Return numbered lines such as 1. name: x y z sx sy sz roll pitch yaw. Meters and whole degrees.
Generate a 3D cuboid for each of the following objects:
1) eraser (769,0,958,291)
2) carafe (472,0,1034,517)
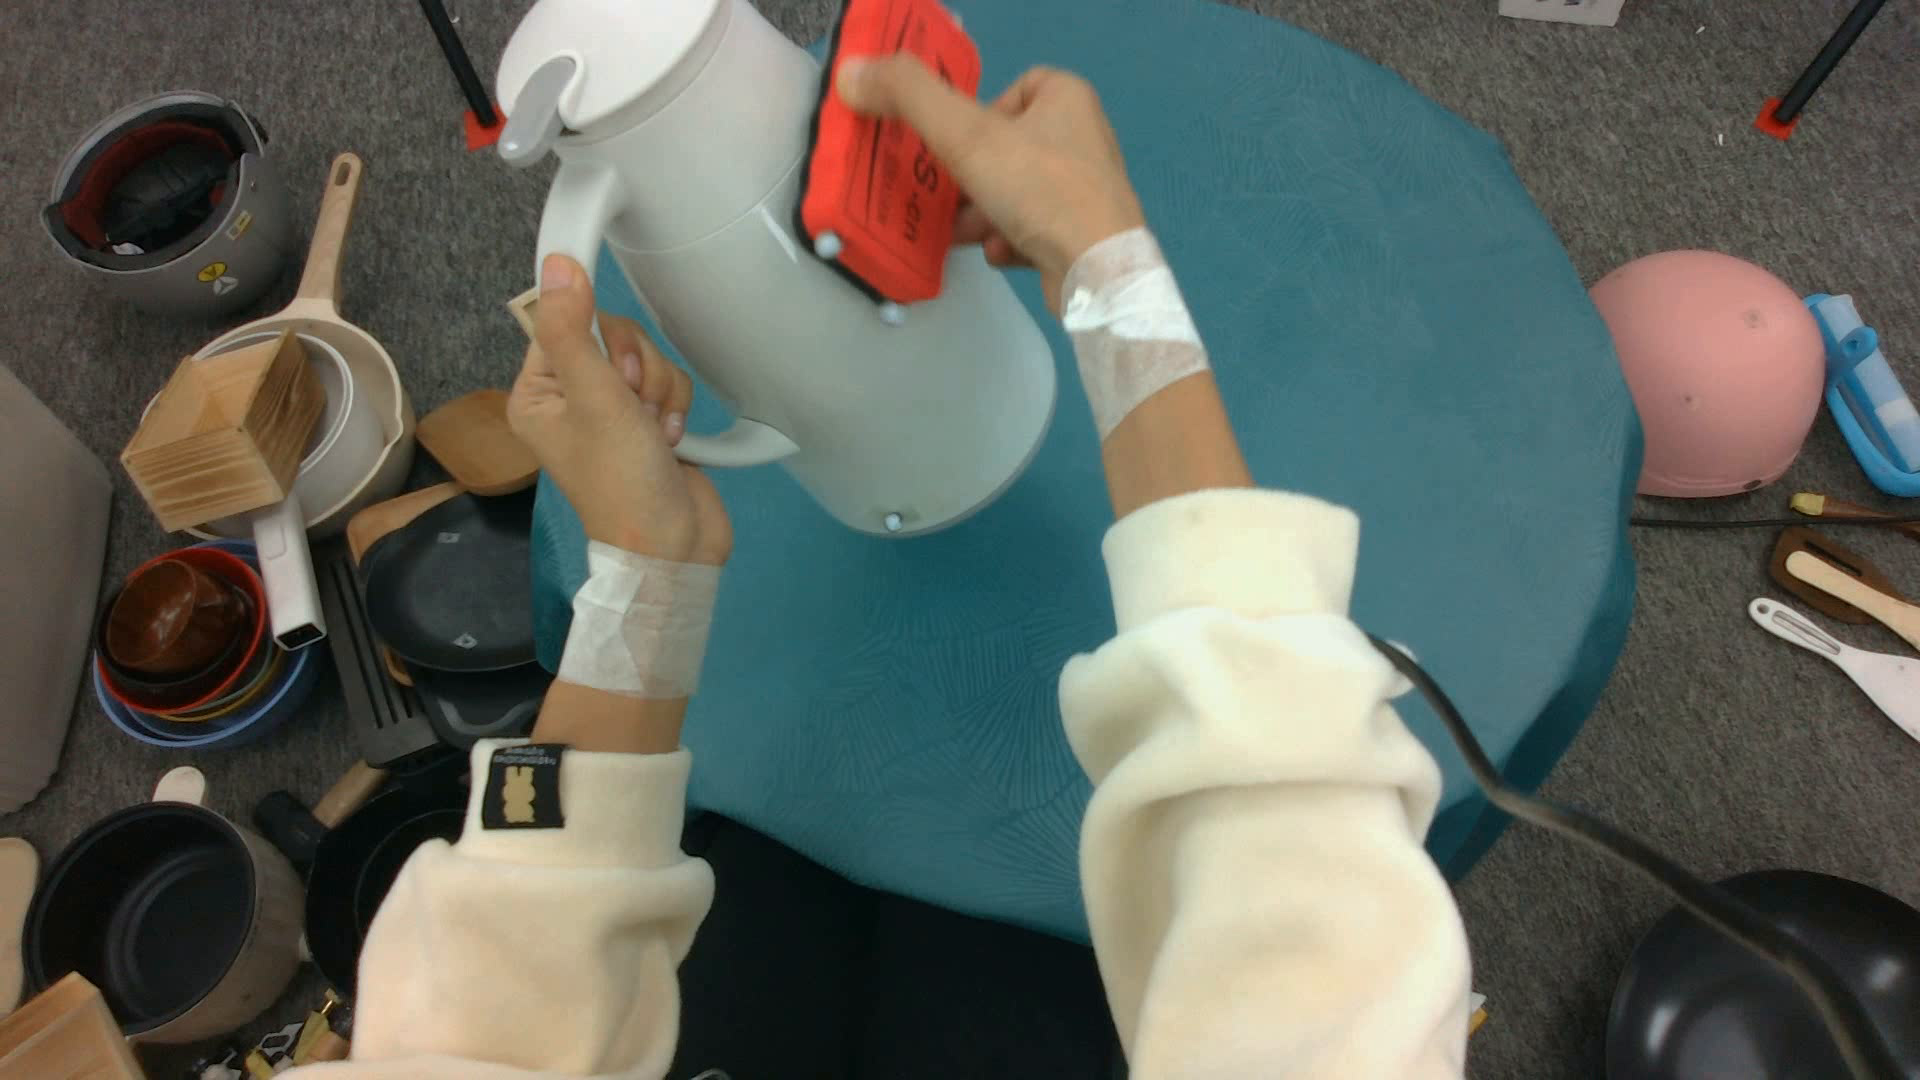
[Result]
1. eraser: -0.032 -0.147 0.492 0.023 0.059 0.108 -10 60 38
2. carafe: -0.083 -0.107 0.543 0.132 0.248 0.168 14 70 33
